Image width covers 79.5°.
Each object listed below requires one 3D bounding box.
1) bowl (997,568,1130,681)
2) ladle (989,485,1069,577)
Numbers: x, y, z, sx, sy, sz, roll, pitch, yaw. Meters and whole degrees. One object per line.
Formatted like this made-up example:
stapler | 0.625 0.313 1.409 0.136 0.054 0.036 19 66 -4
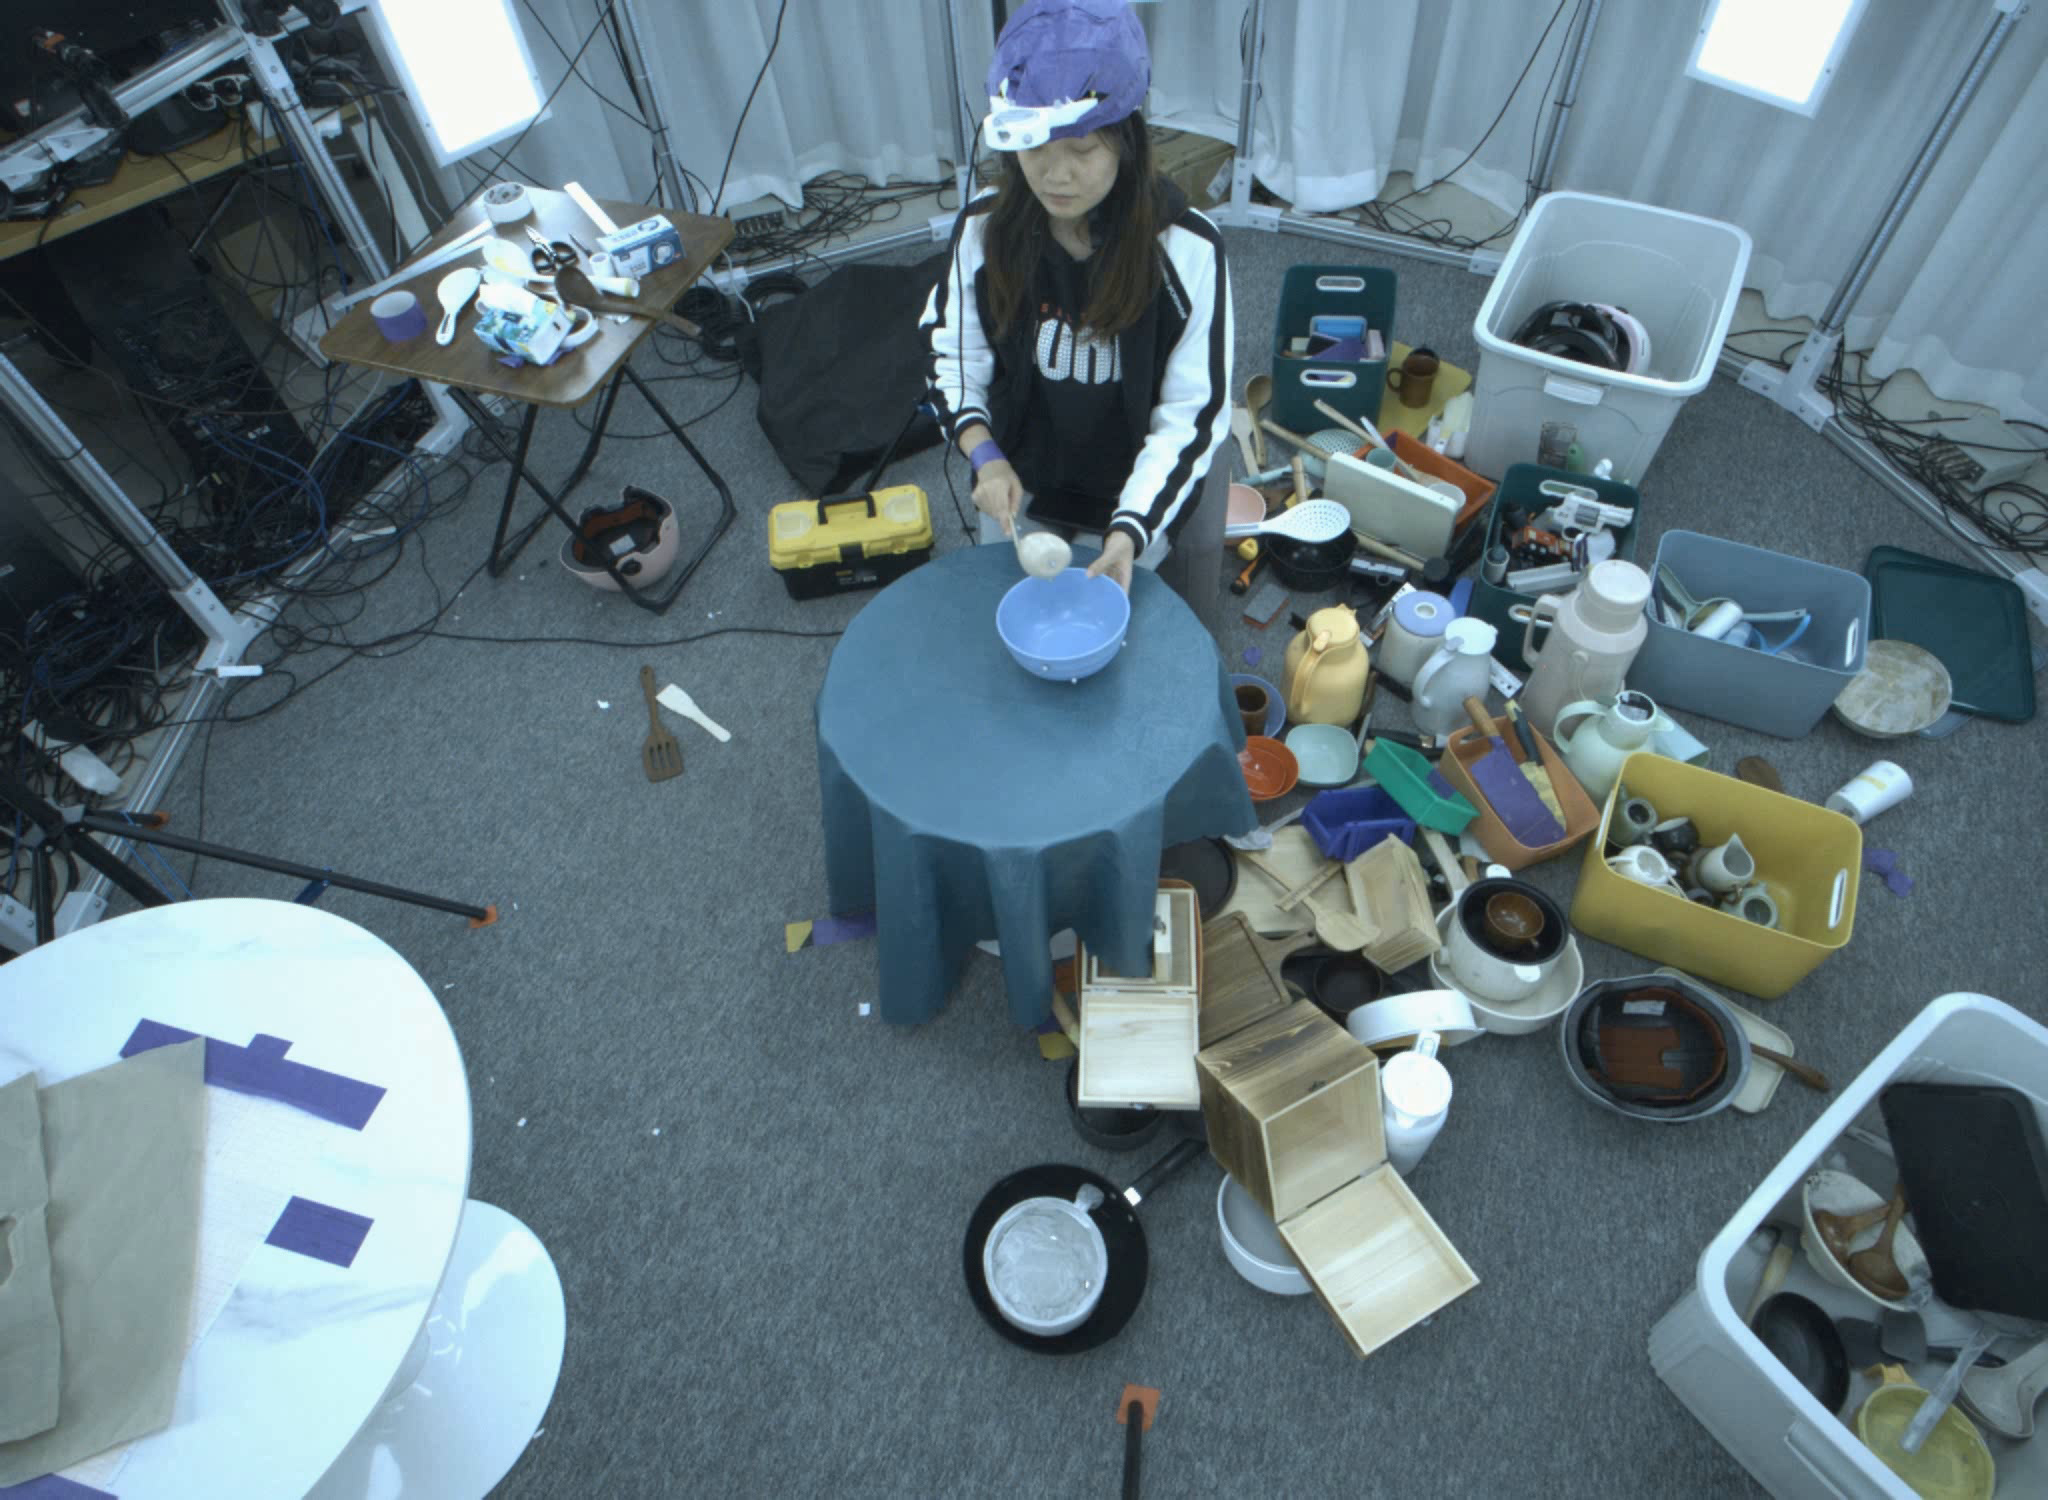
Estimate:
bowl | 0.063 -0.172 1.835 0.196 0.097 0.194 -4 50 6
ladle | 0.004 -0.339 1.791 0.073 0.073 0.250 -21 42 3
